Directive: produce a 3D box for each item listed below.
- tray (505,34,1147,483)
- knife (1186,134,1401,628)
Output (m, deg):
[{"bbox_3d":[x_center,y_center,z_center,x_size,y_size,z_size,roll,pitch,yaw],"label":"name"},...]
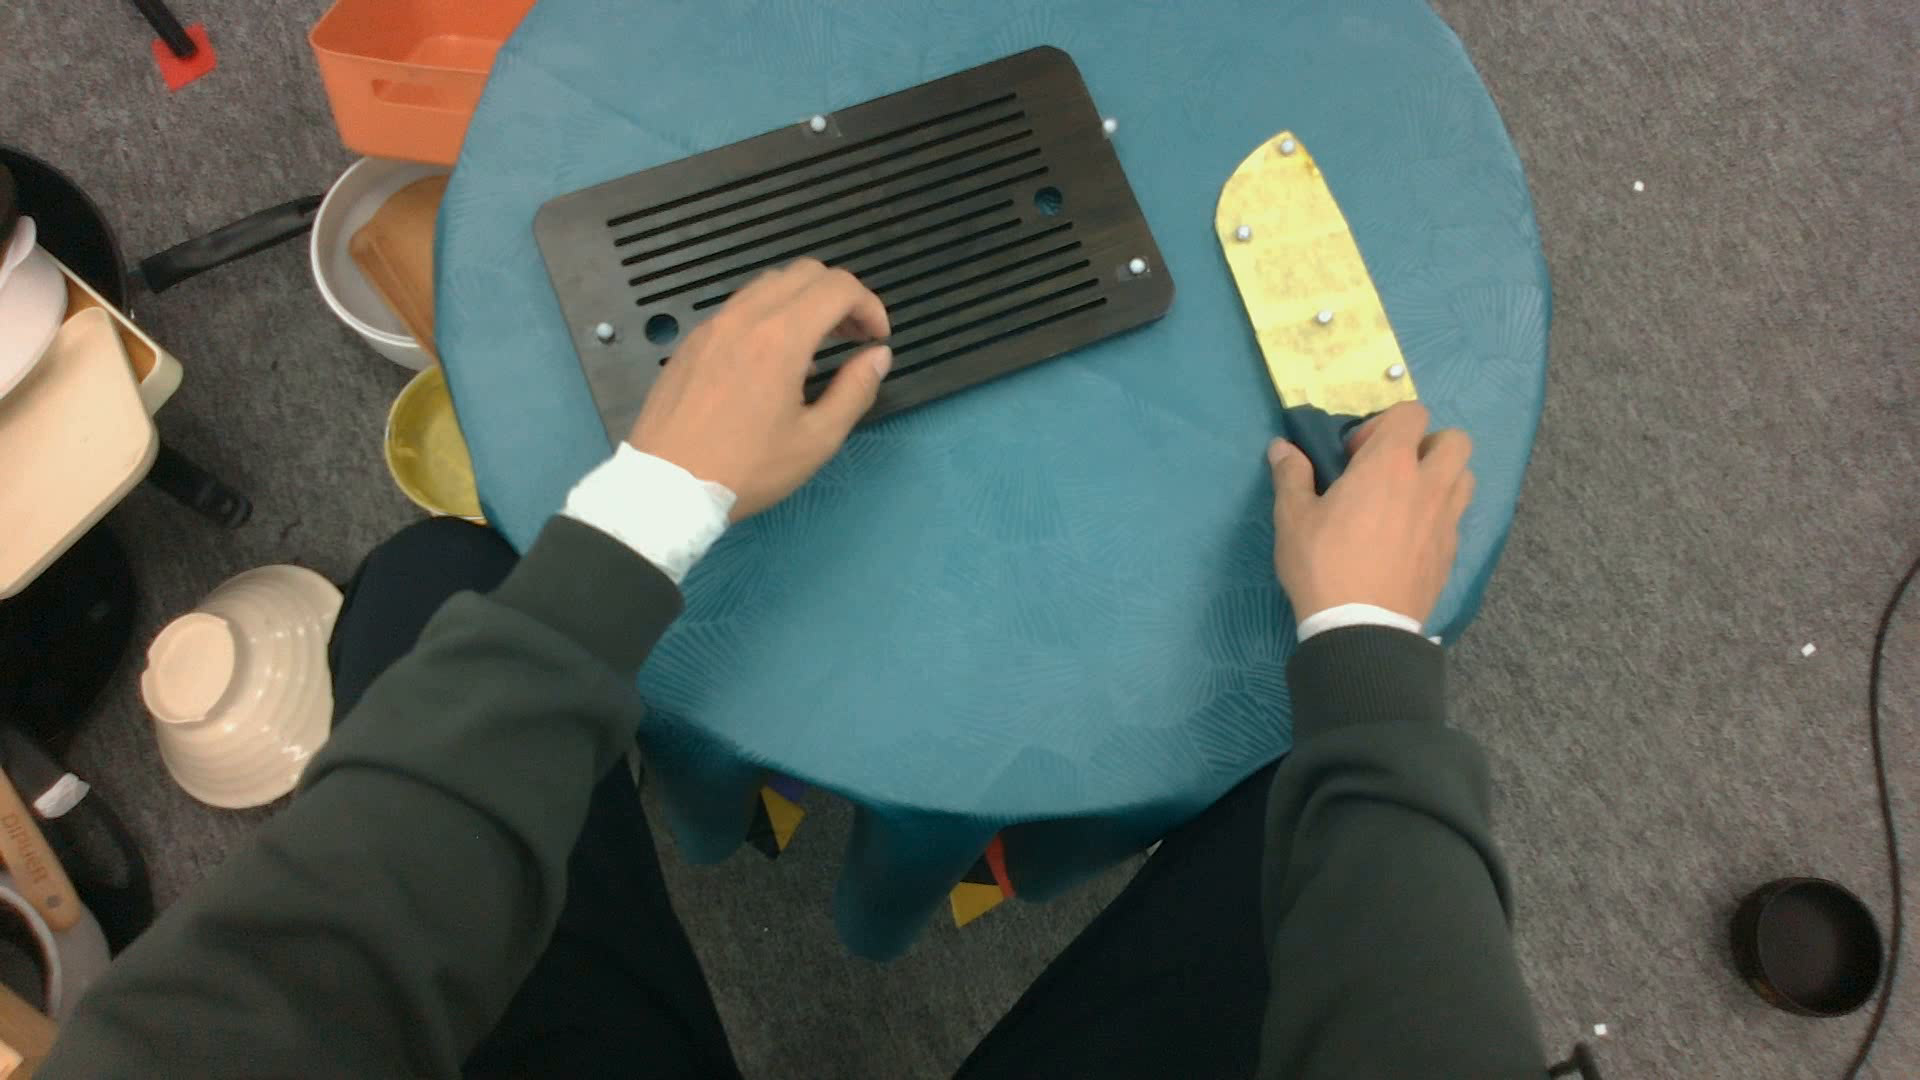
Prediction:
[{"bbox_3d":[-0.067,-0.153,0.728,0.306,0.018,0.170,-21,79,-11],"label":"tray"},{"bbox_3d":[0.189,-0.094,0.742,0.081,0.027,0.290,-13,76,-8],"label":"knife"}]
